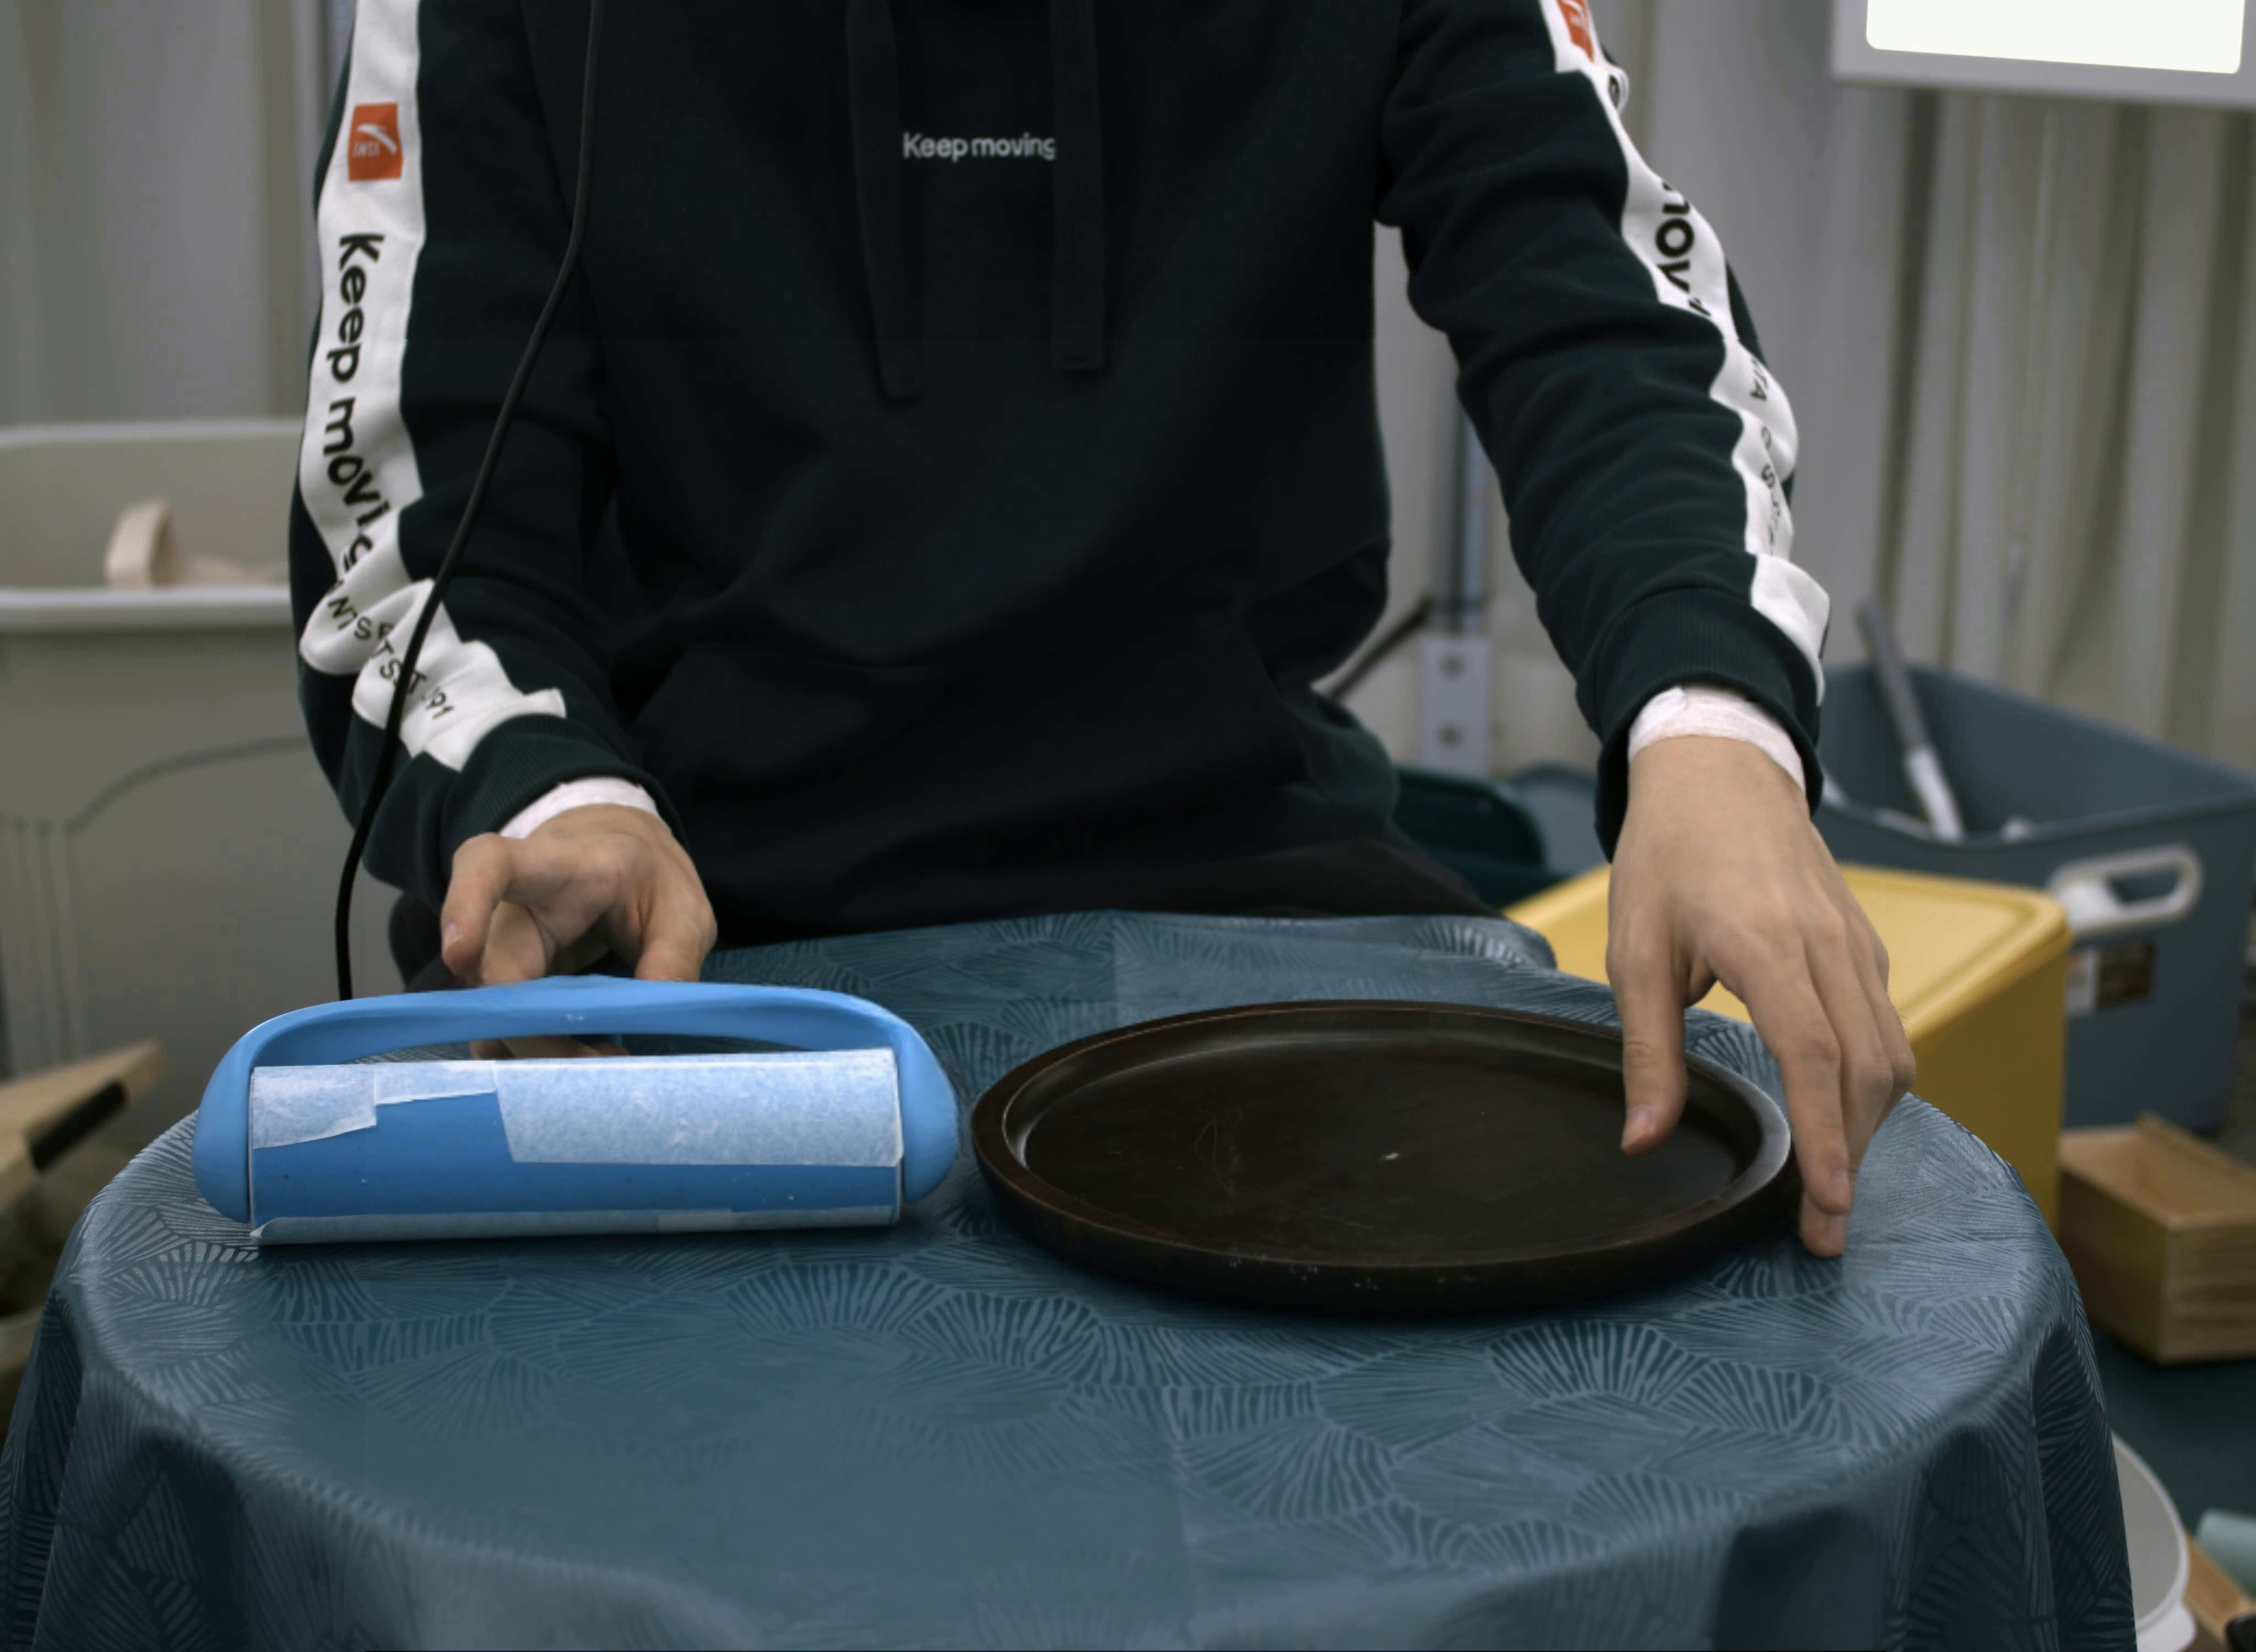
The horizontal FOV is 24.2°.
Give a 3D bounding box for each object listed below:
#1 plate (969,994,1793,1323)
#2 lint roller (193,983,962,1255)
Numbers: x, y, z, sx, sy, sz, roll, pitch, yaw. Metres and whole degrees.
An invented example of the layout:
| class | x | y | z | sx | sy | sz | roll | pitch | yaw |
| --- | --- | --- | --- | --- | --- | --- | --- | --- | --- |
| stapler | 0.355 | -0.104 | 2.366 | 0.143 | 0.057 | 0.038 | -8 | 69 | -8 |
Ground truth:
| class | x | y | z | sx | sy | sz | roll | pitch | yaw |
| --- | --- | --- | --- | --- | --- | --- | --- | --- | --- |
| plate | 0.077 | 0.101 | 1.618 | 0.254 | 0.029 | 0.253 | 0 | 17 | 1 |
| lint roller | -0.172 | 0.079 | 1.628 | 0.229 | 0.068 | 0.179 | -4 | 17 | -8 |
